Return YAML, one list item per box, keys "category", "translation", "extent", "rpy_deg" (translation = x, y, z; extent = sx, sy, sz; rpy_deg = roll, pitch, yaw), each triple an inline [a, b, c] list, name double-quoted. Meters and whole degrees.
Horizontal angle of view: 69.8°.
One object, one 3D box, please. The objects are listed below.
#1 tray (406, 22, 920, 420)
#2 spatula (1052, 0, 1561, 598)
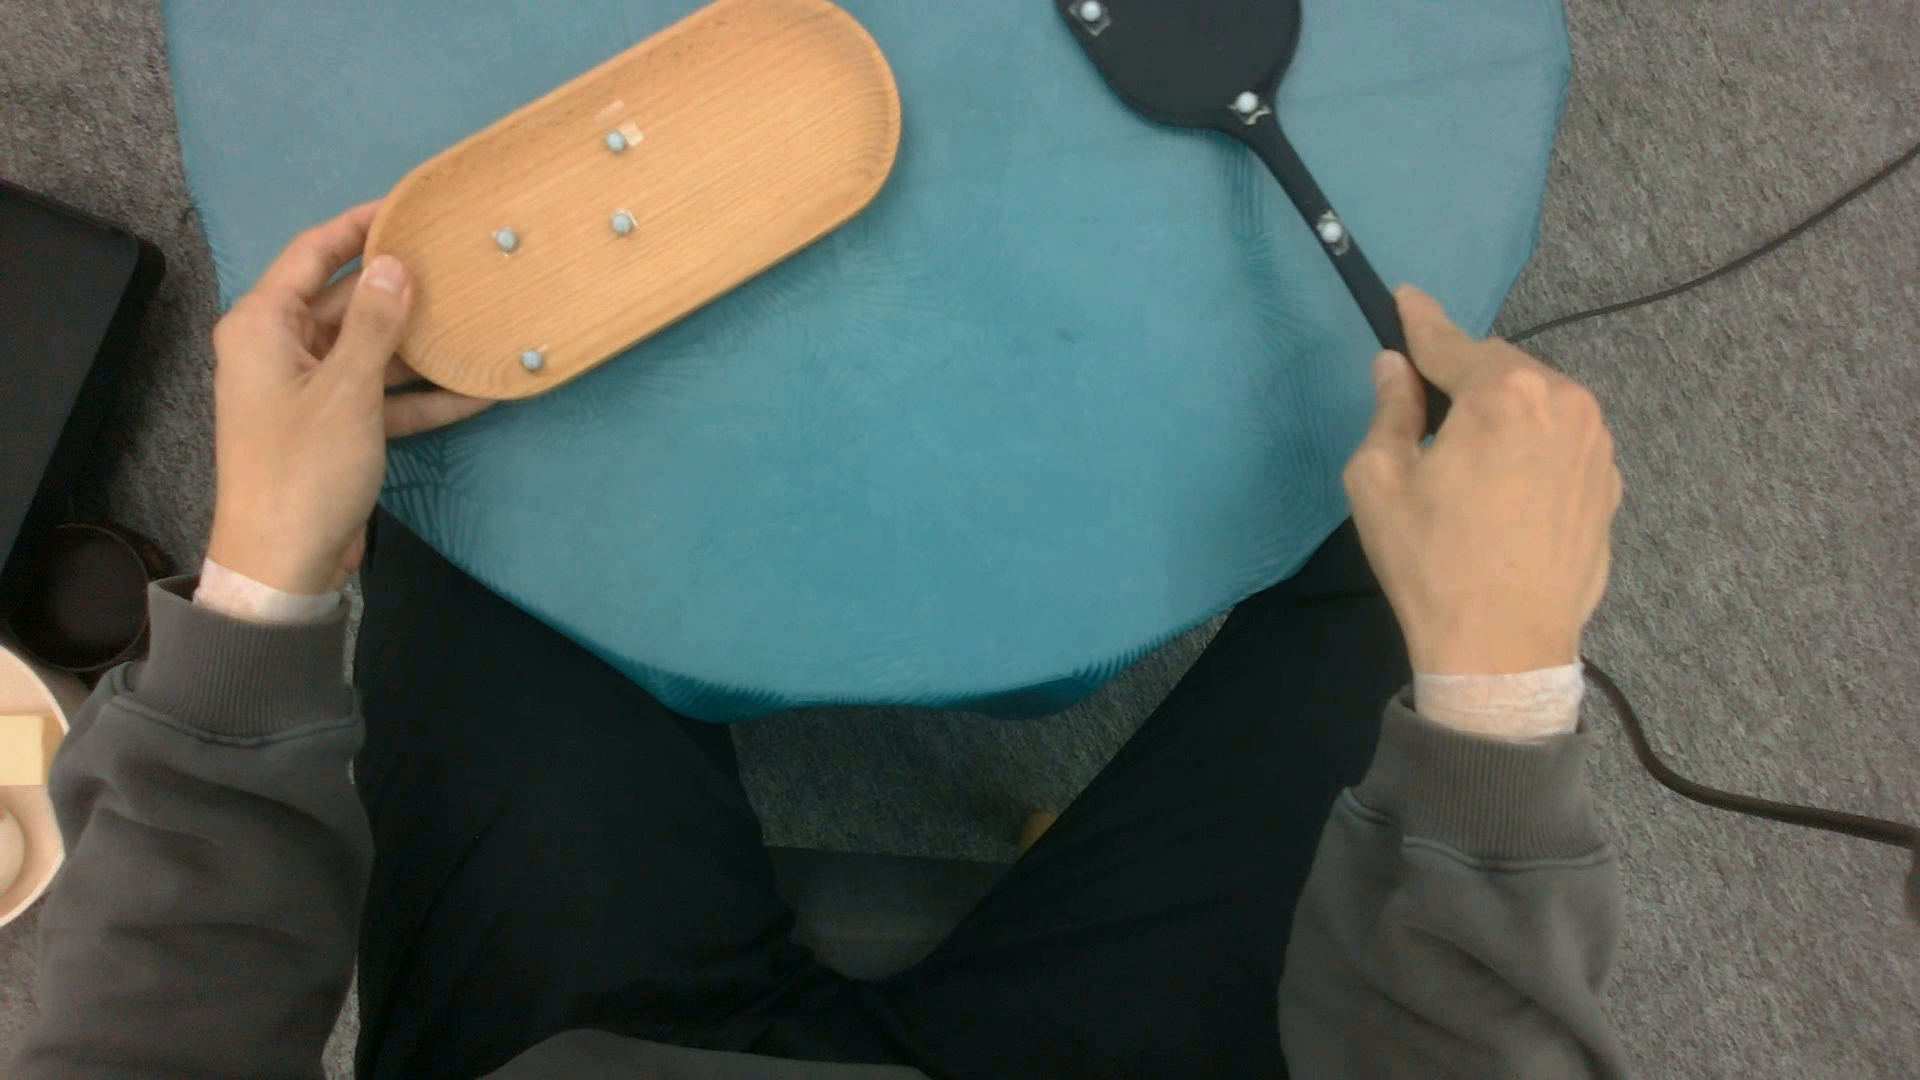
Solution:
- category: "tray"
  translation: [-0.123, -0.135, 0.584]
  extent: [0.231, 0.020, 0.101]
  rpy_deg: [-32, 93, -6]
- category: "spatula"
  translation: [0.151, -0.118, 0.567]
  extent: [0.099, 0.040, 0.327]
  rpy_deg: [-29, 69, 5]
